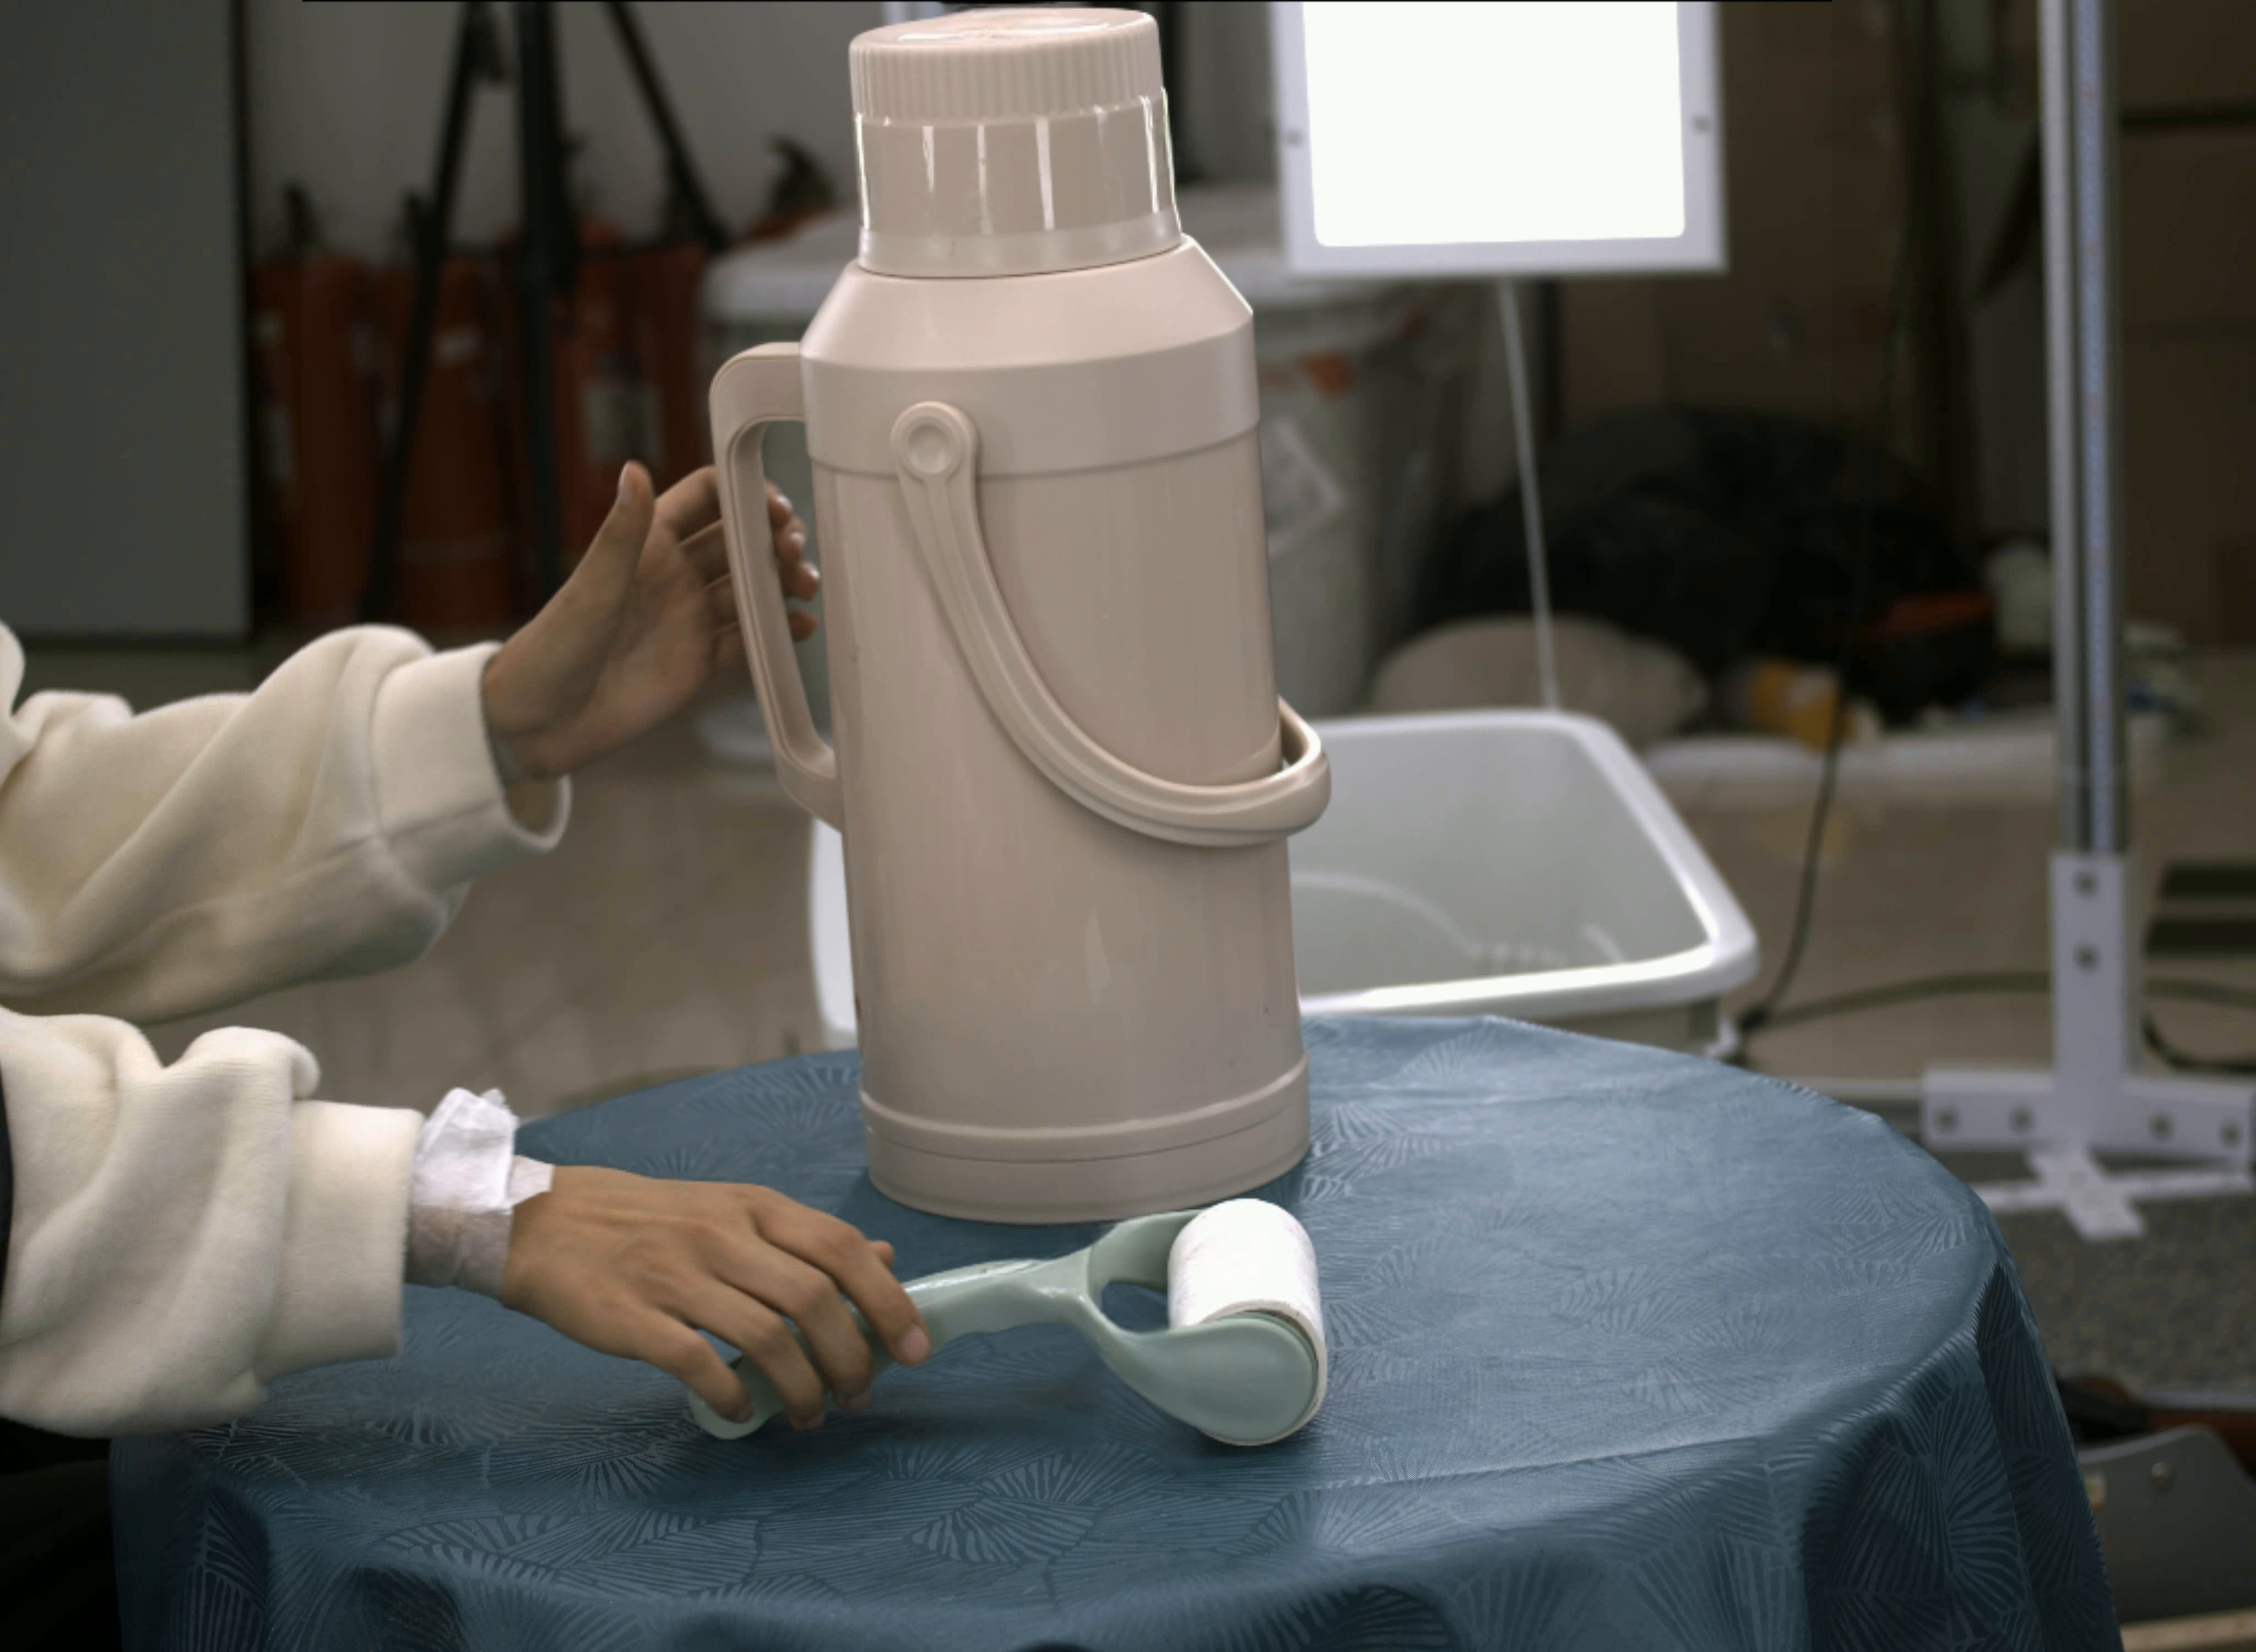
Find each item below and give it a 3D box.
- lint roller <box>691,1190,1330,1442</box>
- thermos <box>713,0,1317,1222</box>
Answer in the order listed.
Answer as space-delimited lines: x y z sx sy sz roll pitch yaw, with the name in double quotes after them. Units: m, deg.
-0.038 0.156 1.697 0.197 0.049 0.116 -4 16 3 "lint roller"
-0.040 -0.075 1.903 0.210 0.408 0.172 1 15 23 "thermos"
